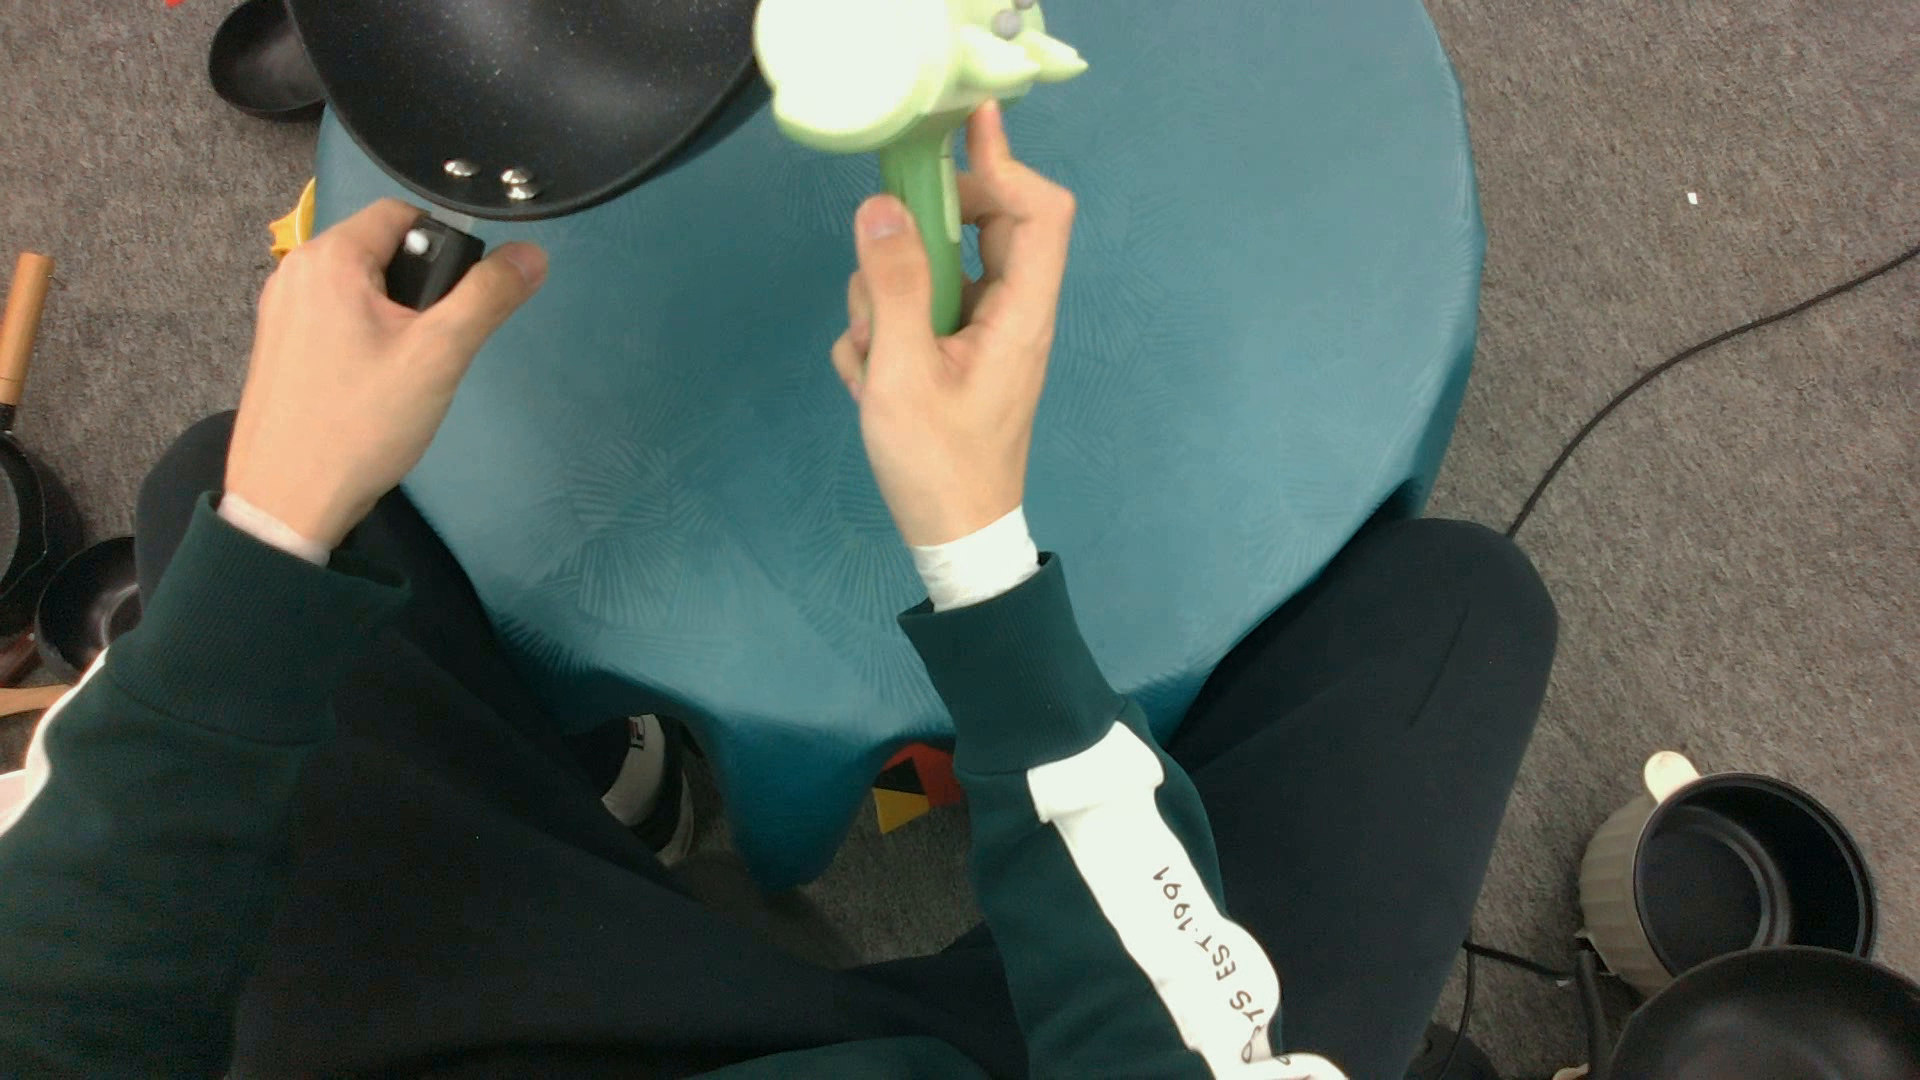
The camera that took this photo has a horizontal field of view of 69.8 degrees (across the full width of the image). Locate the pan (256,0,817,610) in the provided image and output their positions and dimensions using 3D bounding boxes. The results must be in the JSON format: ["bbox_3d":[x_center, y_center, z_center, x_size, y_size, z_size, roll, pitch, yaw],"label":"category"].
[{"bbox_3d":[-0.169,-0.197,0.519,0.310,0.112,0.475,25,106,27],"label":"pan"}]

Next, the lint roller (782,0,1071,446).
[{"bbox_3d":[-0.002,-0.123,0.481,0.082,0.199,0.183,-2,108,9],"label":"lint roller"}]
